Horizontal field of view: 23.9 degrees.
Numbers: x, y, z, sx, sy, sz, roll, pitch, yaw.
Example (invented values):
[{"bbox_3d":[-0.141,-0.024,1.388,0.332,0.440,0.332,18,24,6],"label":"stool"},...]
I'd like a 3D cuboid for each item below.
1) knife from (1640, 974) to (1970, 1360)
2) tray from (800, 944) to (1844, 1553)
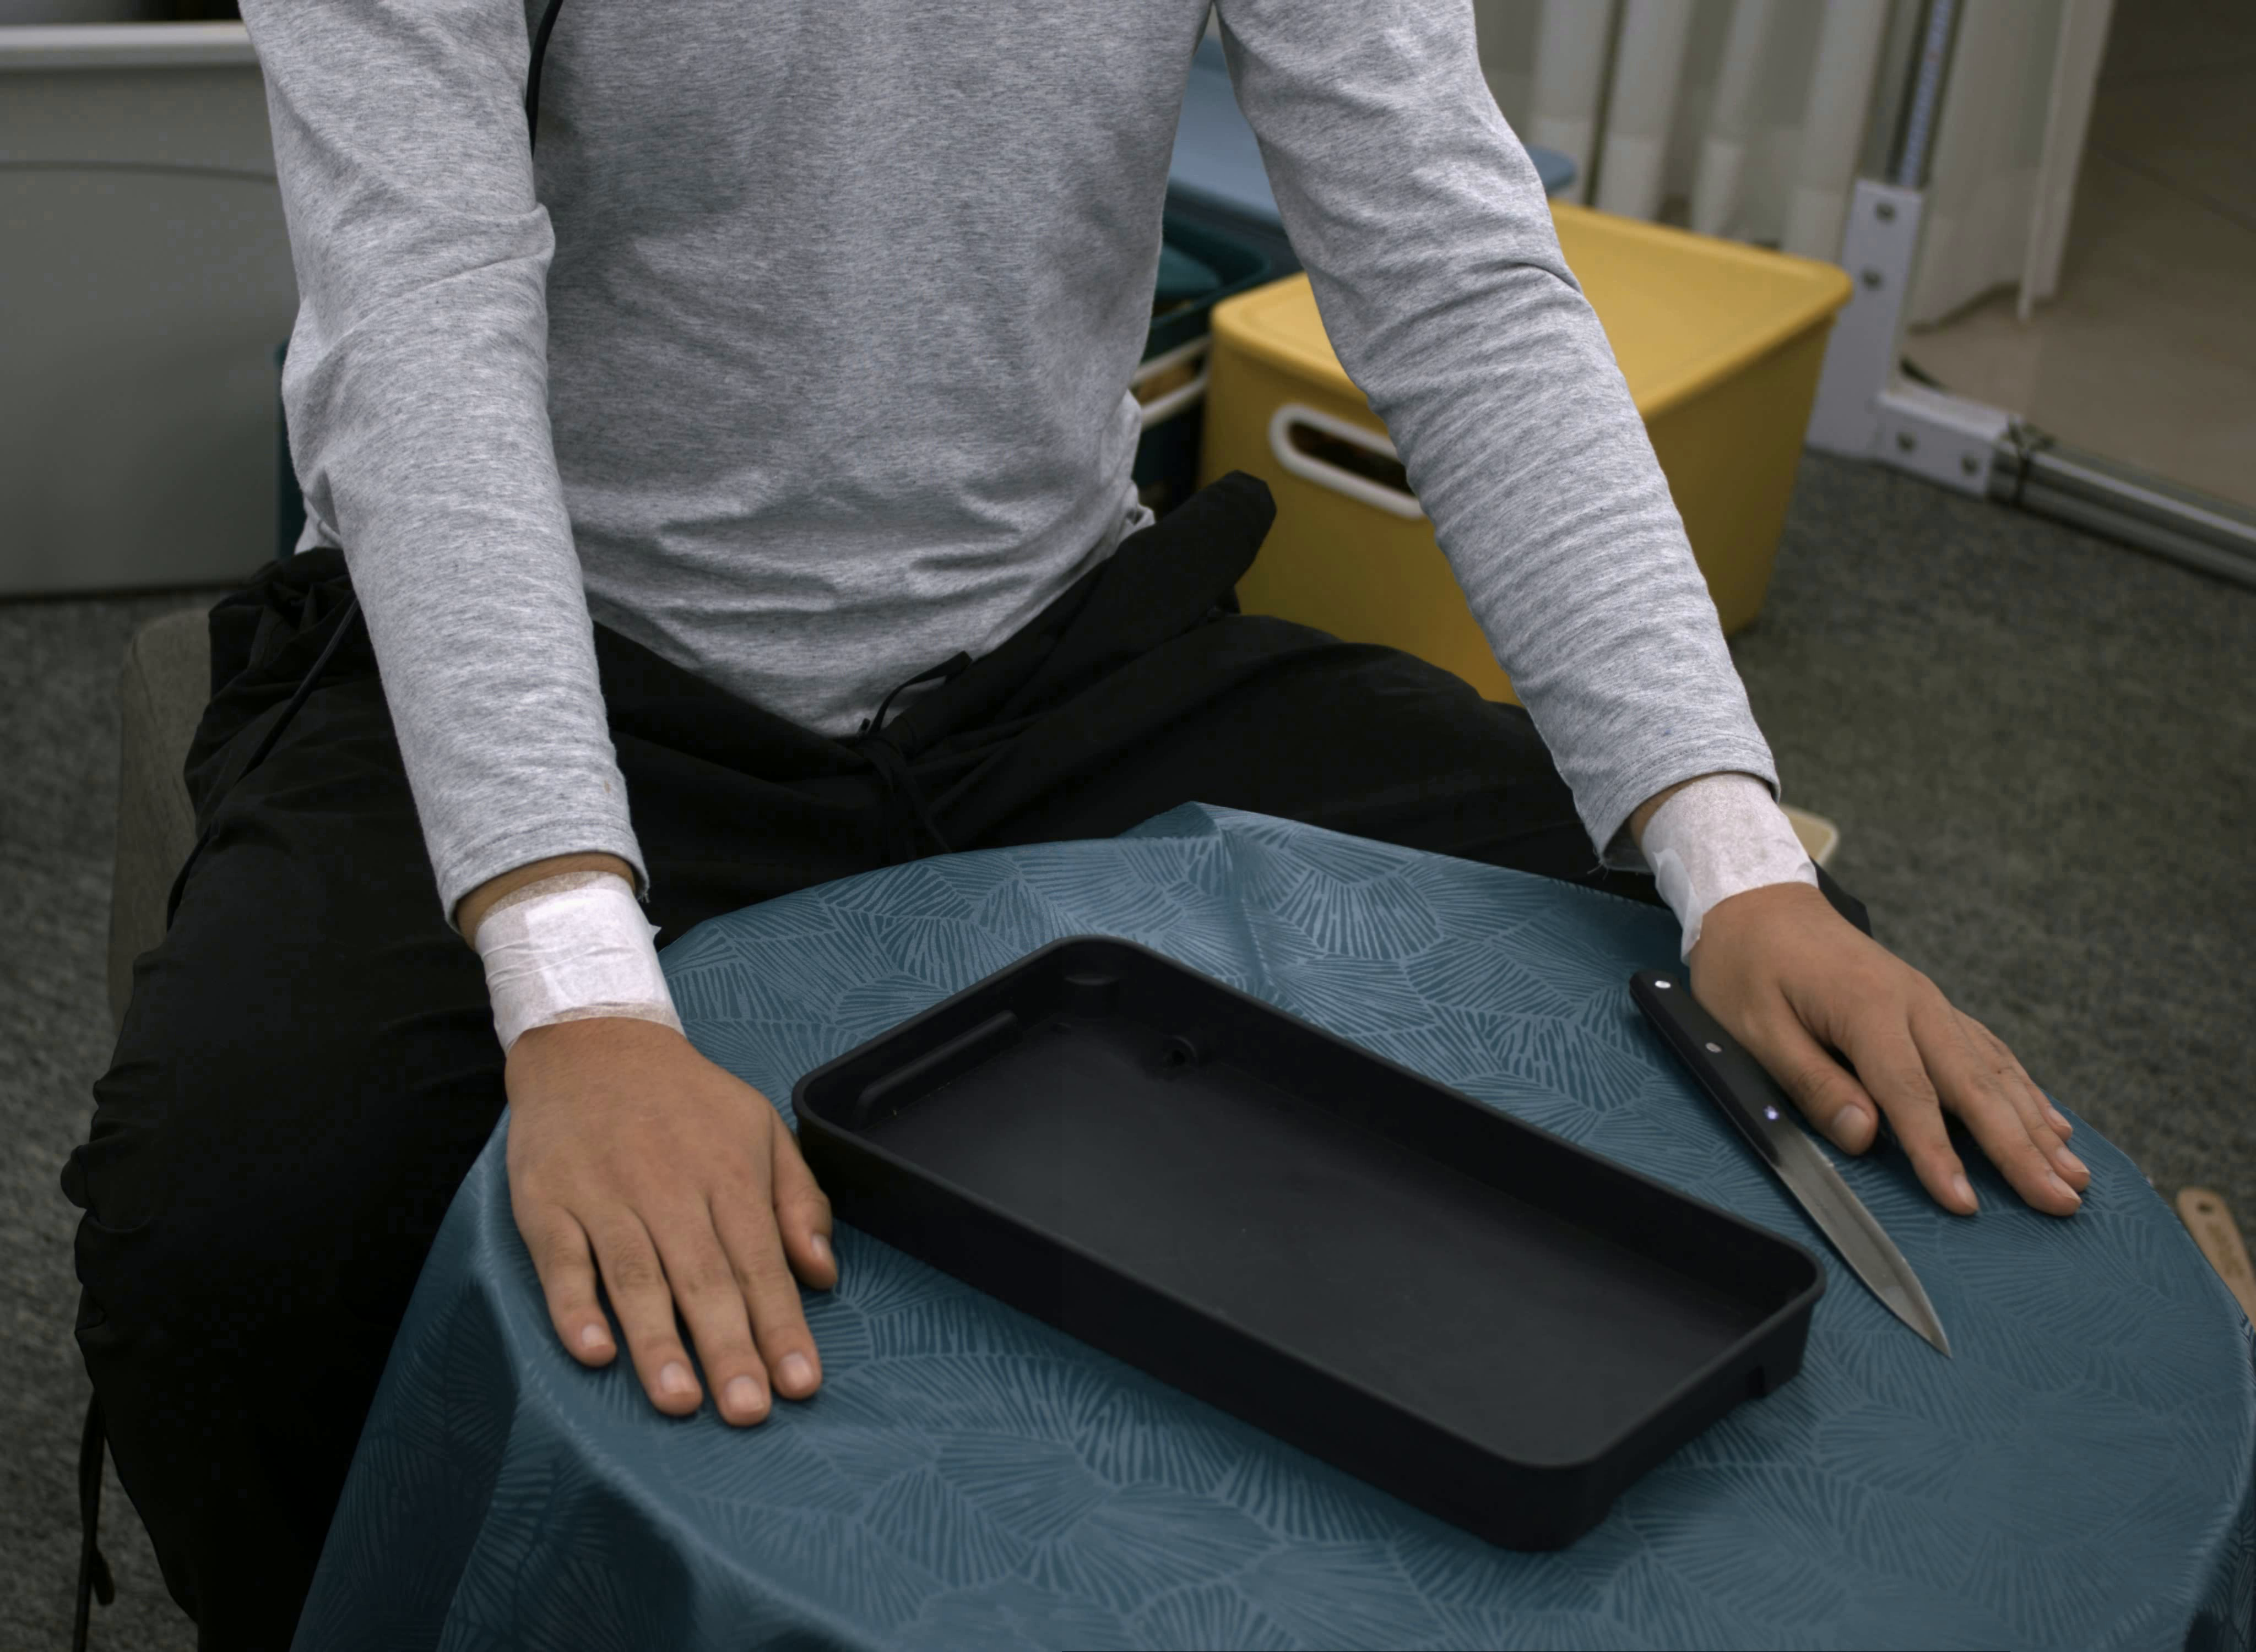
[{"bbox_3d":[0.234,0.118,1.857,0.024,0.016,0.240,-6,32,-21],"label":"knife"},{"bbox_3d":[0.061,0.134,1.760,0.320,0.037,0.183,22,30,29],"label":"tray"}]
